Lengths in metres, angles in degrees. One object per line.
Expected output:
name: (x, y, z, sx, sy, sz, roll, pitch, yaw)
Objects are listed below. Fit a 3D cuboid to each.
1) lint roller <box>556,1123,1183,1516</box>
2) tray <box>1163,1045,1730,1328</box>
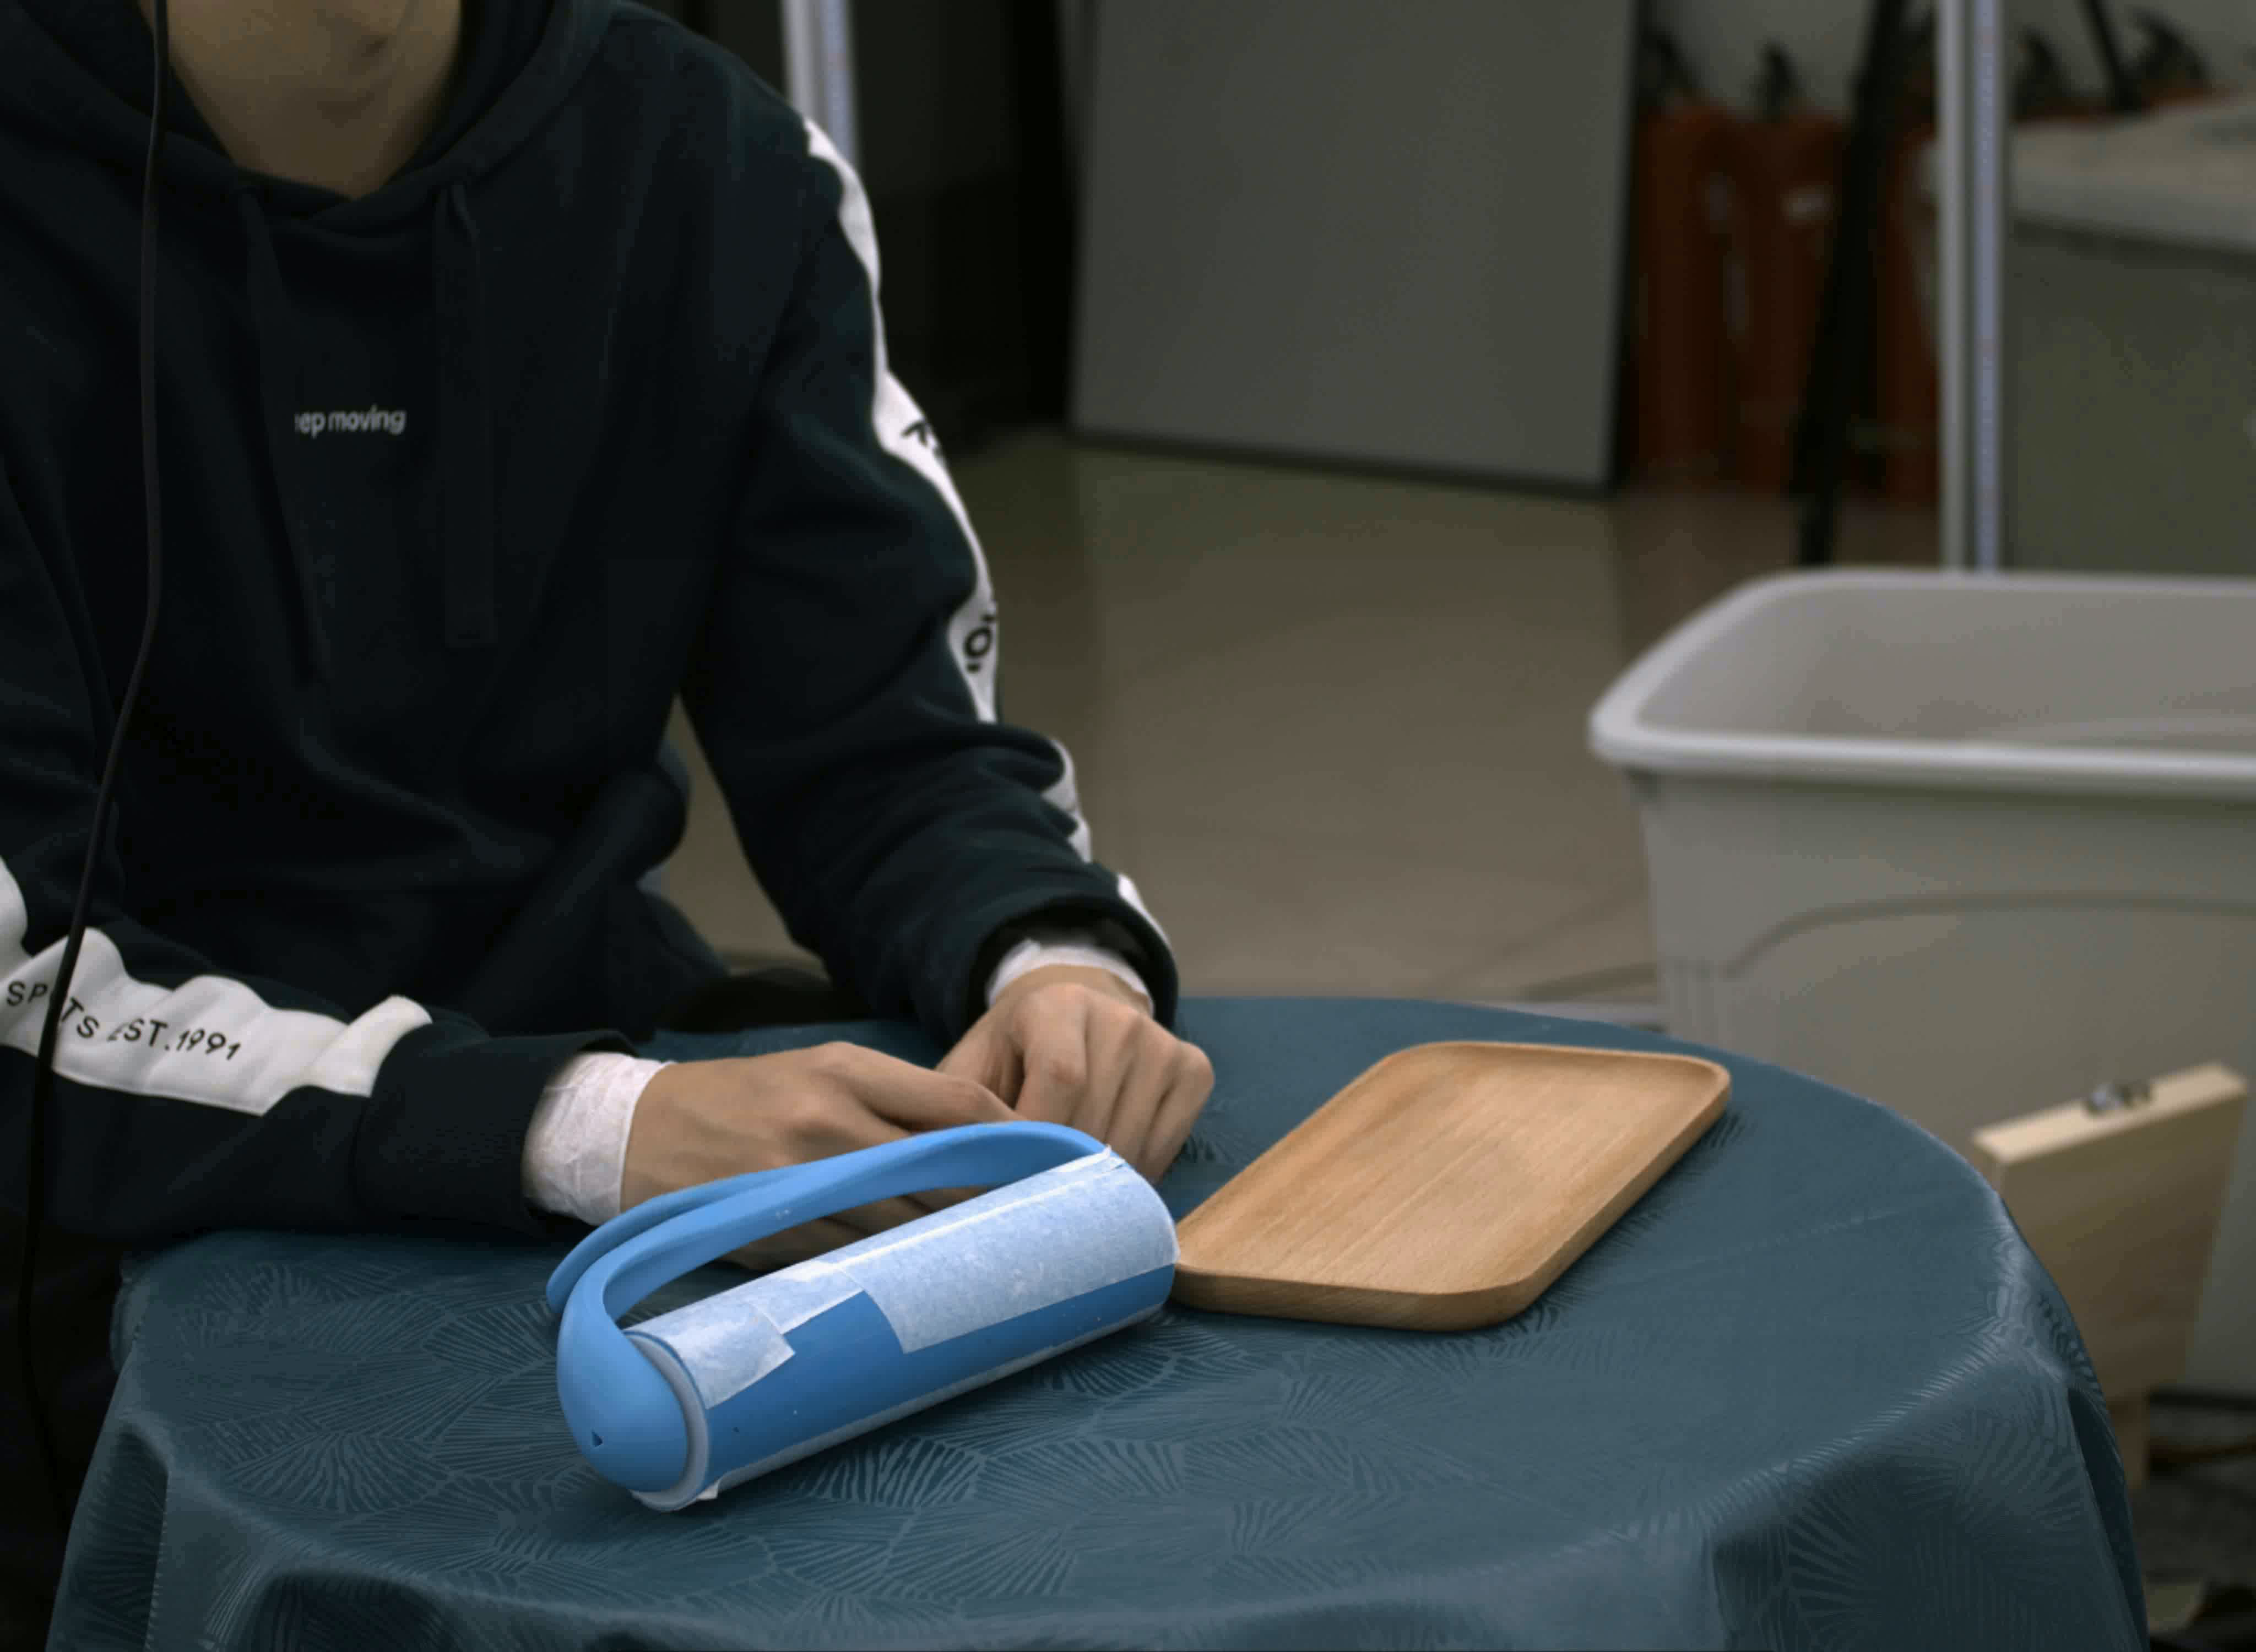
lint roller: (-0.111, 0.138, 1.617, 0.182, 0.068, 0.224, 9, 21, 41)
tray: (0.103, 0.114, 1.734, 0.131, 0.023, 0.247, 0, 15, 26)
